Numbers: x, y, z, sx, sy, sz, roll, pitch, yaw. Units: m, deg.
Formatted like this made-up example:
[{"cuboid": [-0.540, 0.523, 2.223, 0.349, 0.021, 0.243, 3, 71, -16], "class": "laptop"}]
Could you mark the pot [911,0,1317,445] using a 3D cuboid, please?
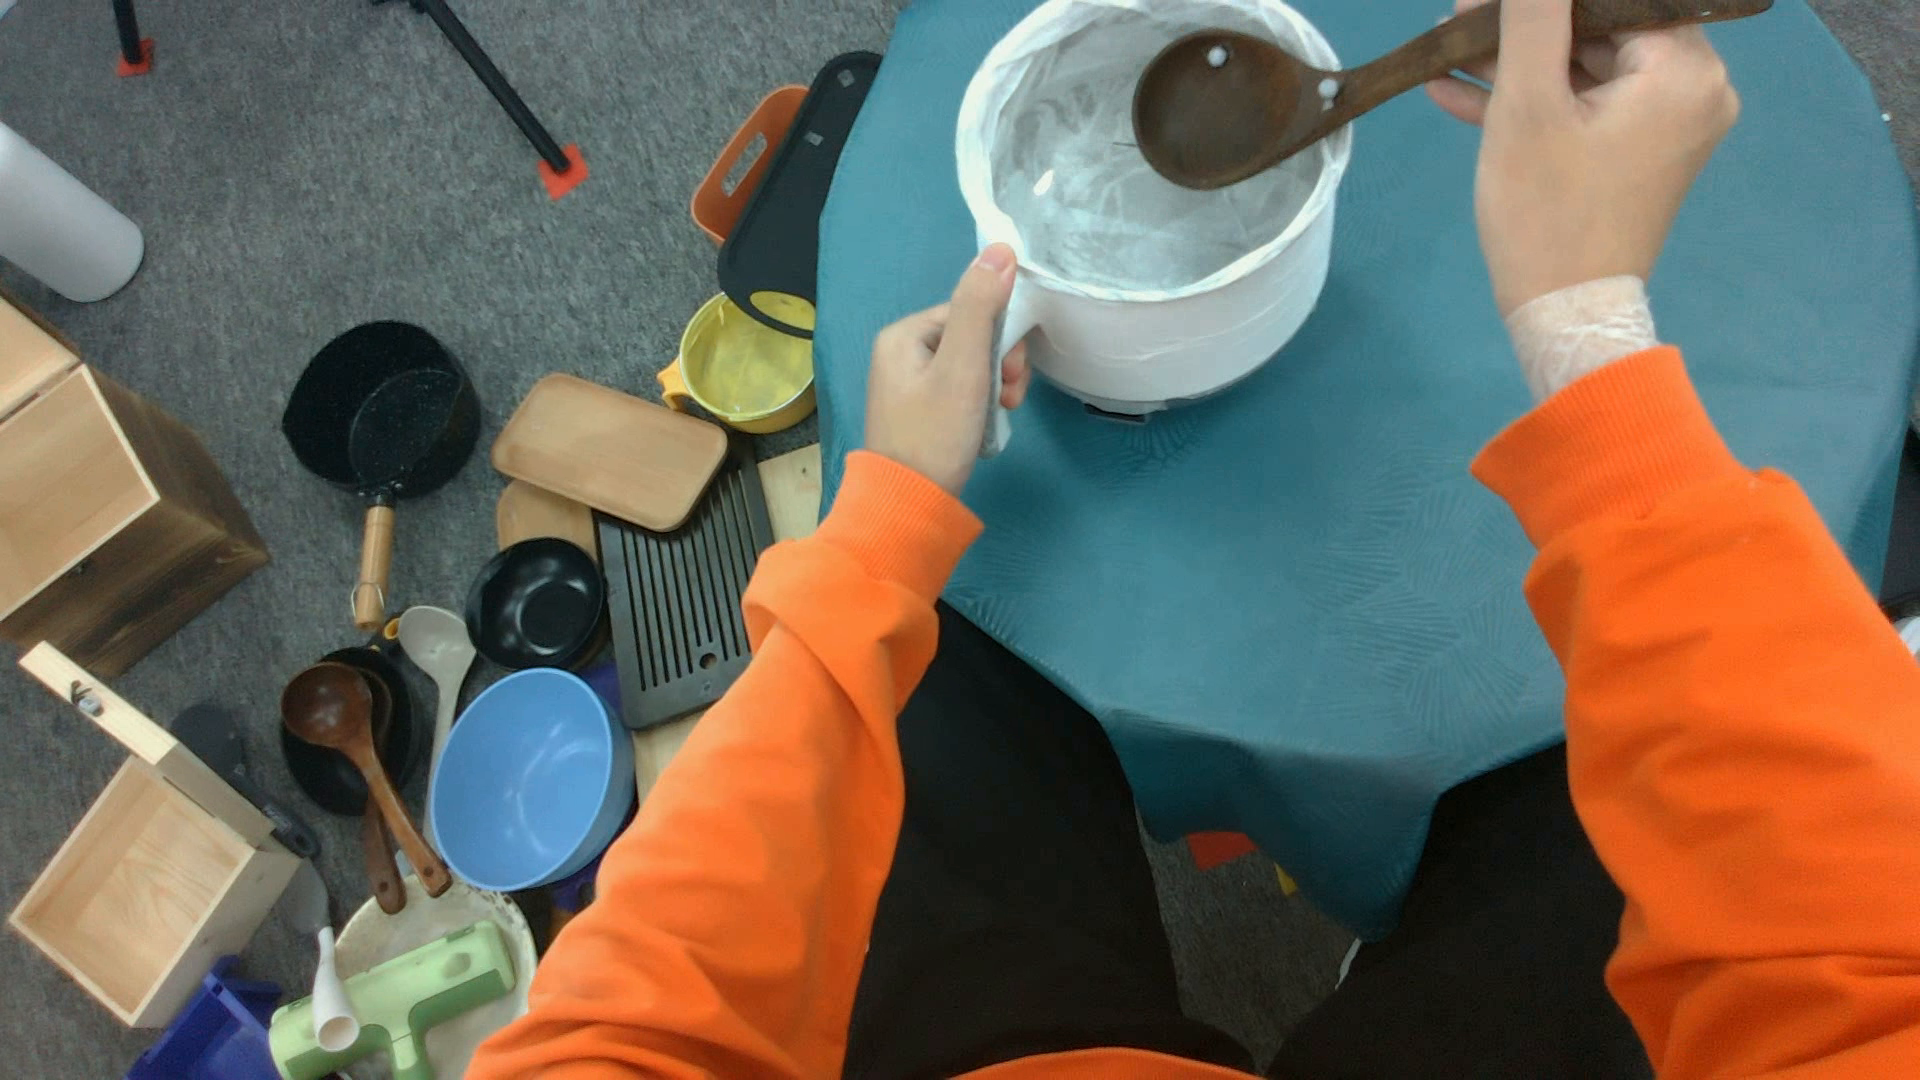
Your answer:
[{"cuboid": [0.062, -0.151, 0.679, 0.179, 0.136, 0.234, 39, 79, 19], "class": "pot"}]

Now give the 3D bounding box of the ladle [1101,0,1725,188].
[{"cuboid": [0.156, -0.195, 0.539, 0.071, 0.273, 0.076, 11, 87, -28], "class": "ladle"}]
